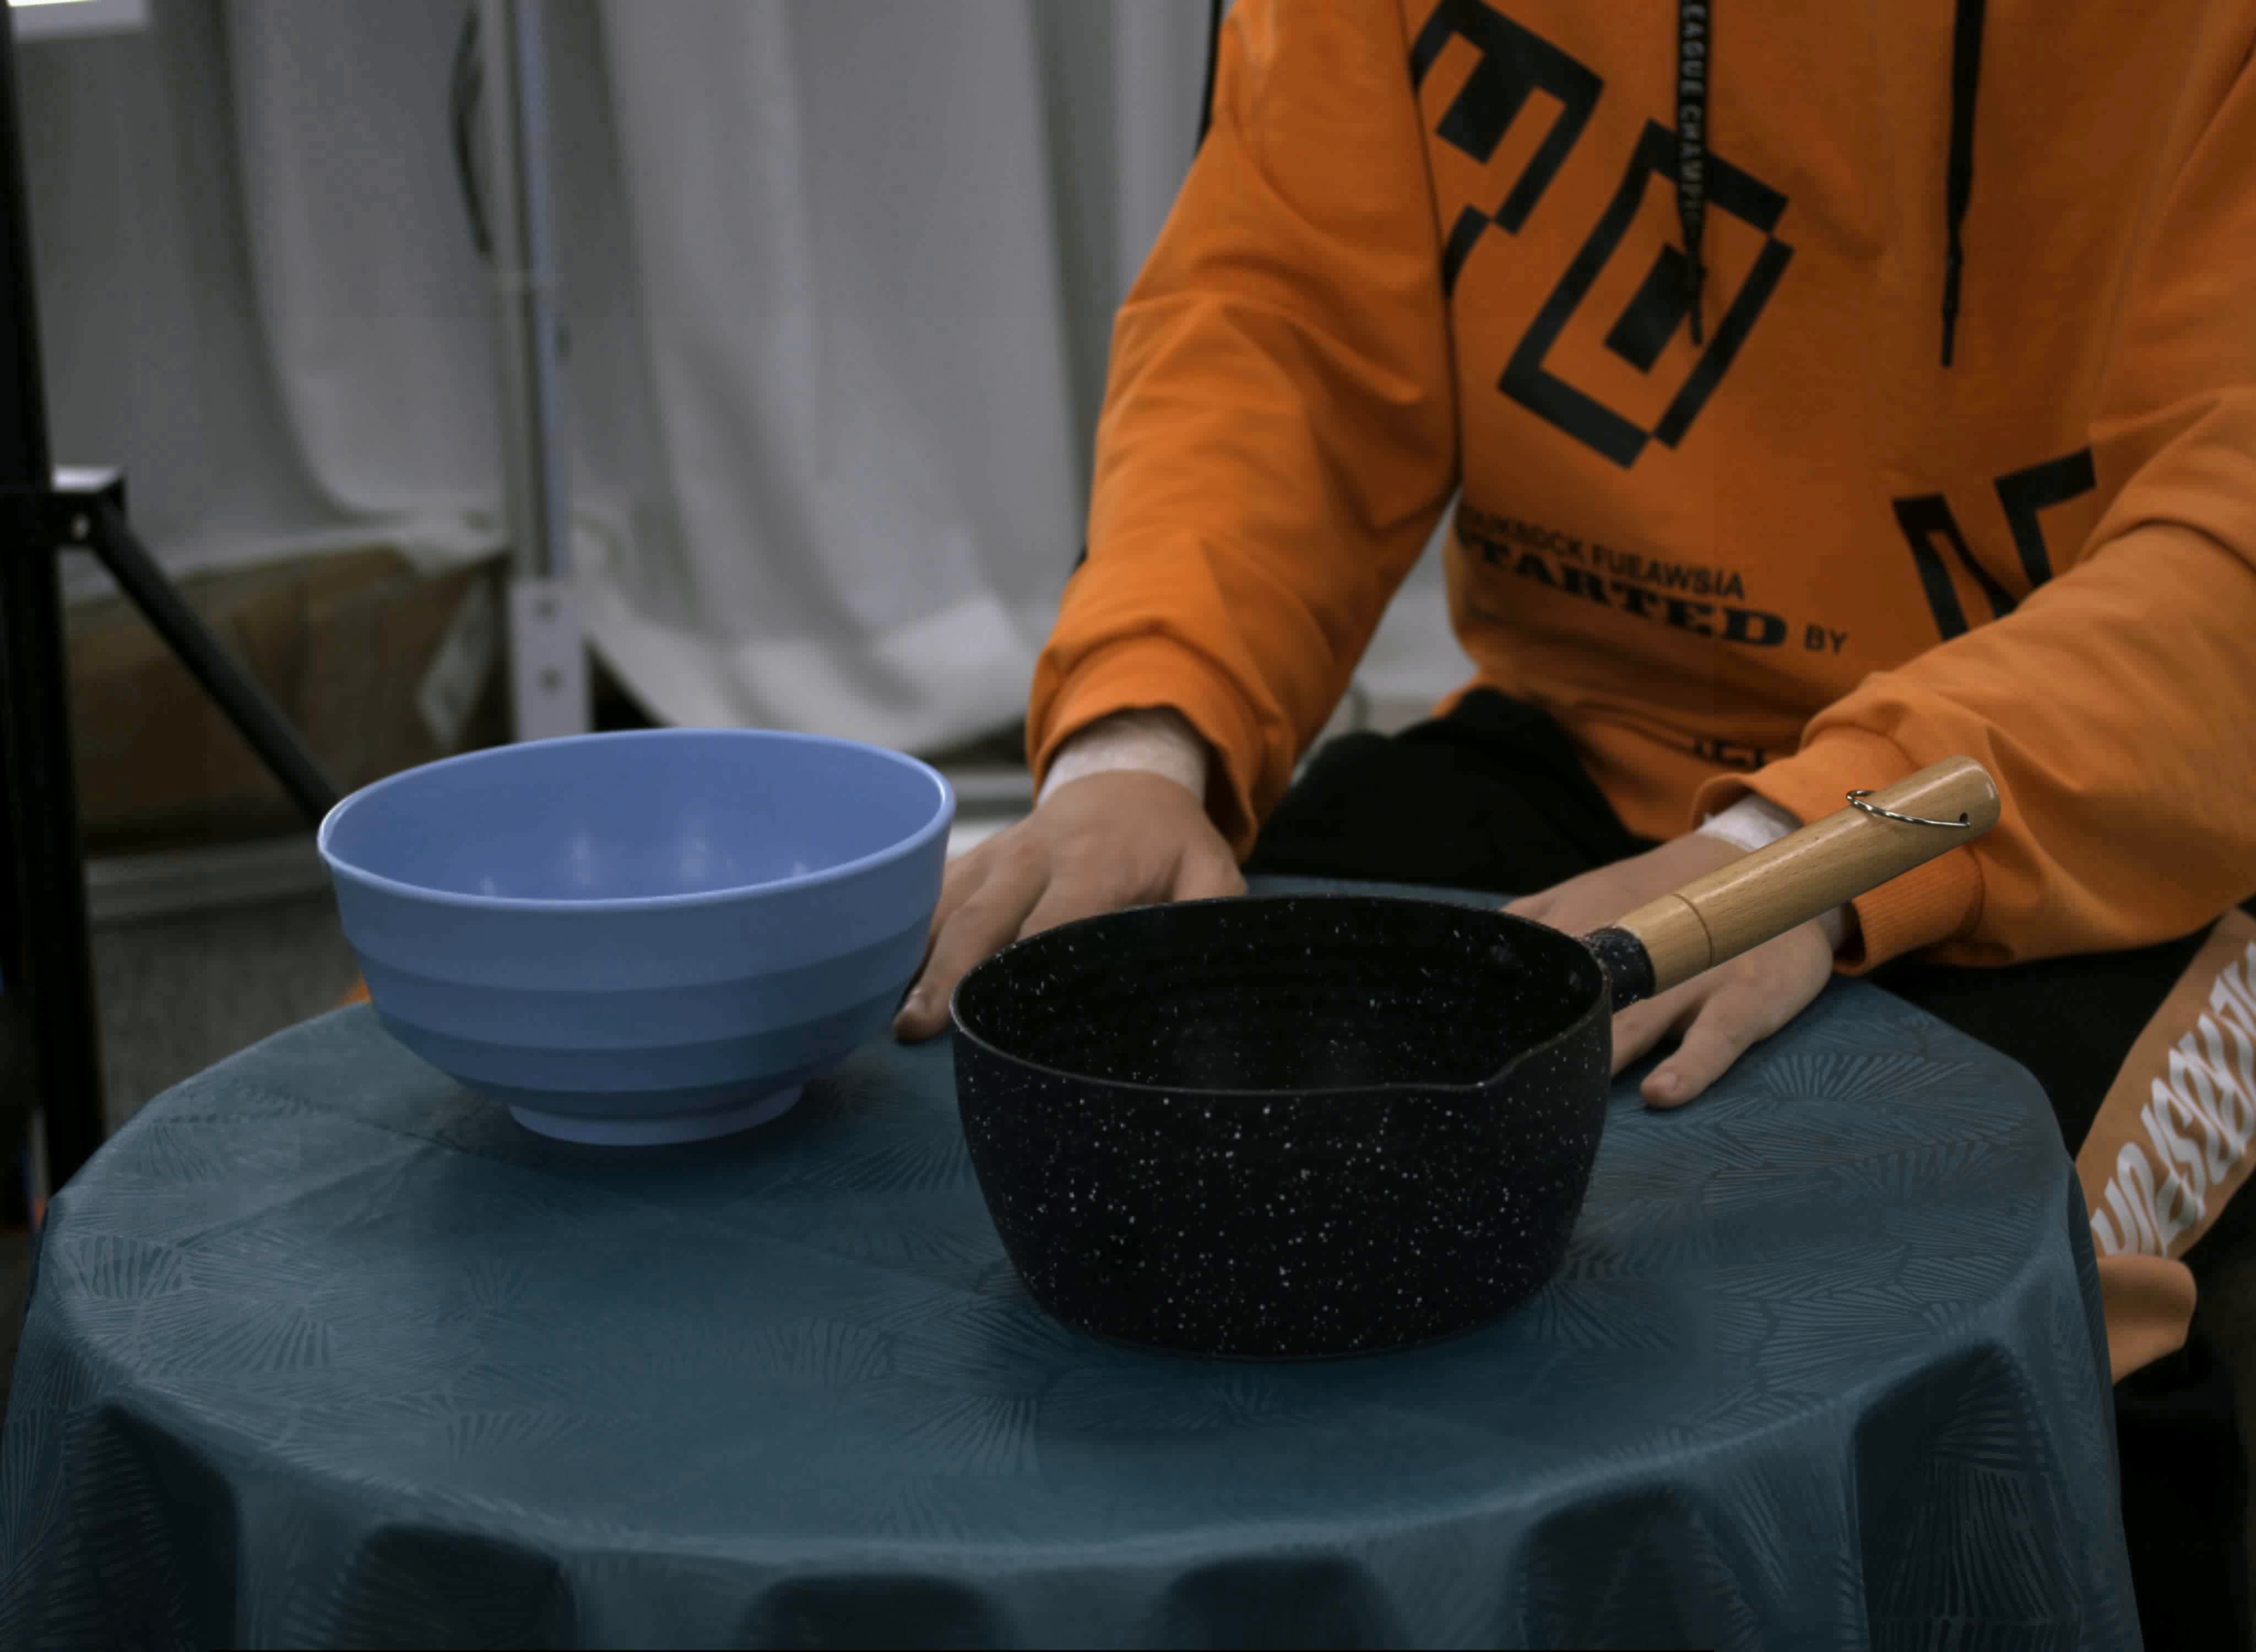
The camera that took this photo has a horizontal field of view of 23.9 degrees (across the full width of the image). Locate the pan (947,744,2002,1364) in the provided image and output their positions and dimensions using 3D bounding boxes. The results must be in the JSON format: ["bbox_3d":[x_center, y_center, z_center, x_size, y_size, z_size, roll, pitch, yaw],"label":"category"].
[{"bbox_3d":[0.111,0.060,1.511,0.335,0.108,0.212,-13,17,-28],"label":"pan"}]

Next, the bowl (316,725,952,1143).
[{"bbox_3d":[-0.149,0.039,1.651,0.195,0.095,0.197,-4,16,0],"label":"bowl"}]
